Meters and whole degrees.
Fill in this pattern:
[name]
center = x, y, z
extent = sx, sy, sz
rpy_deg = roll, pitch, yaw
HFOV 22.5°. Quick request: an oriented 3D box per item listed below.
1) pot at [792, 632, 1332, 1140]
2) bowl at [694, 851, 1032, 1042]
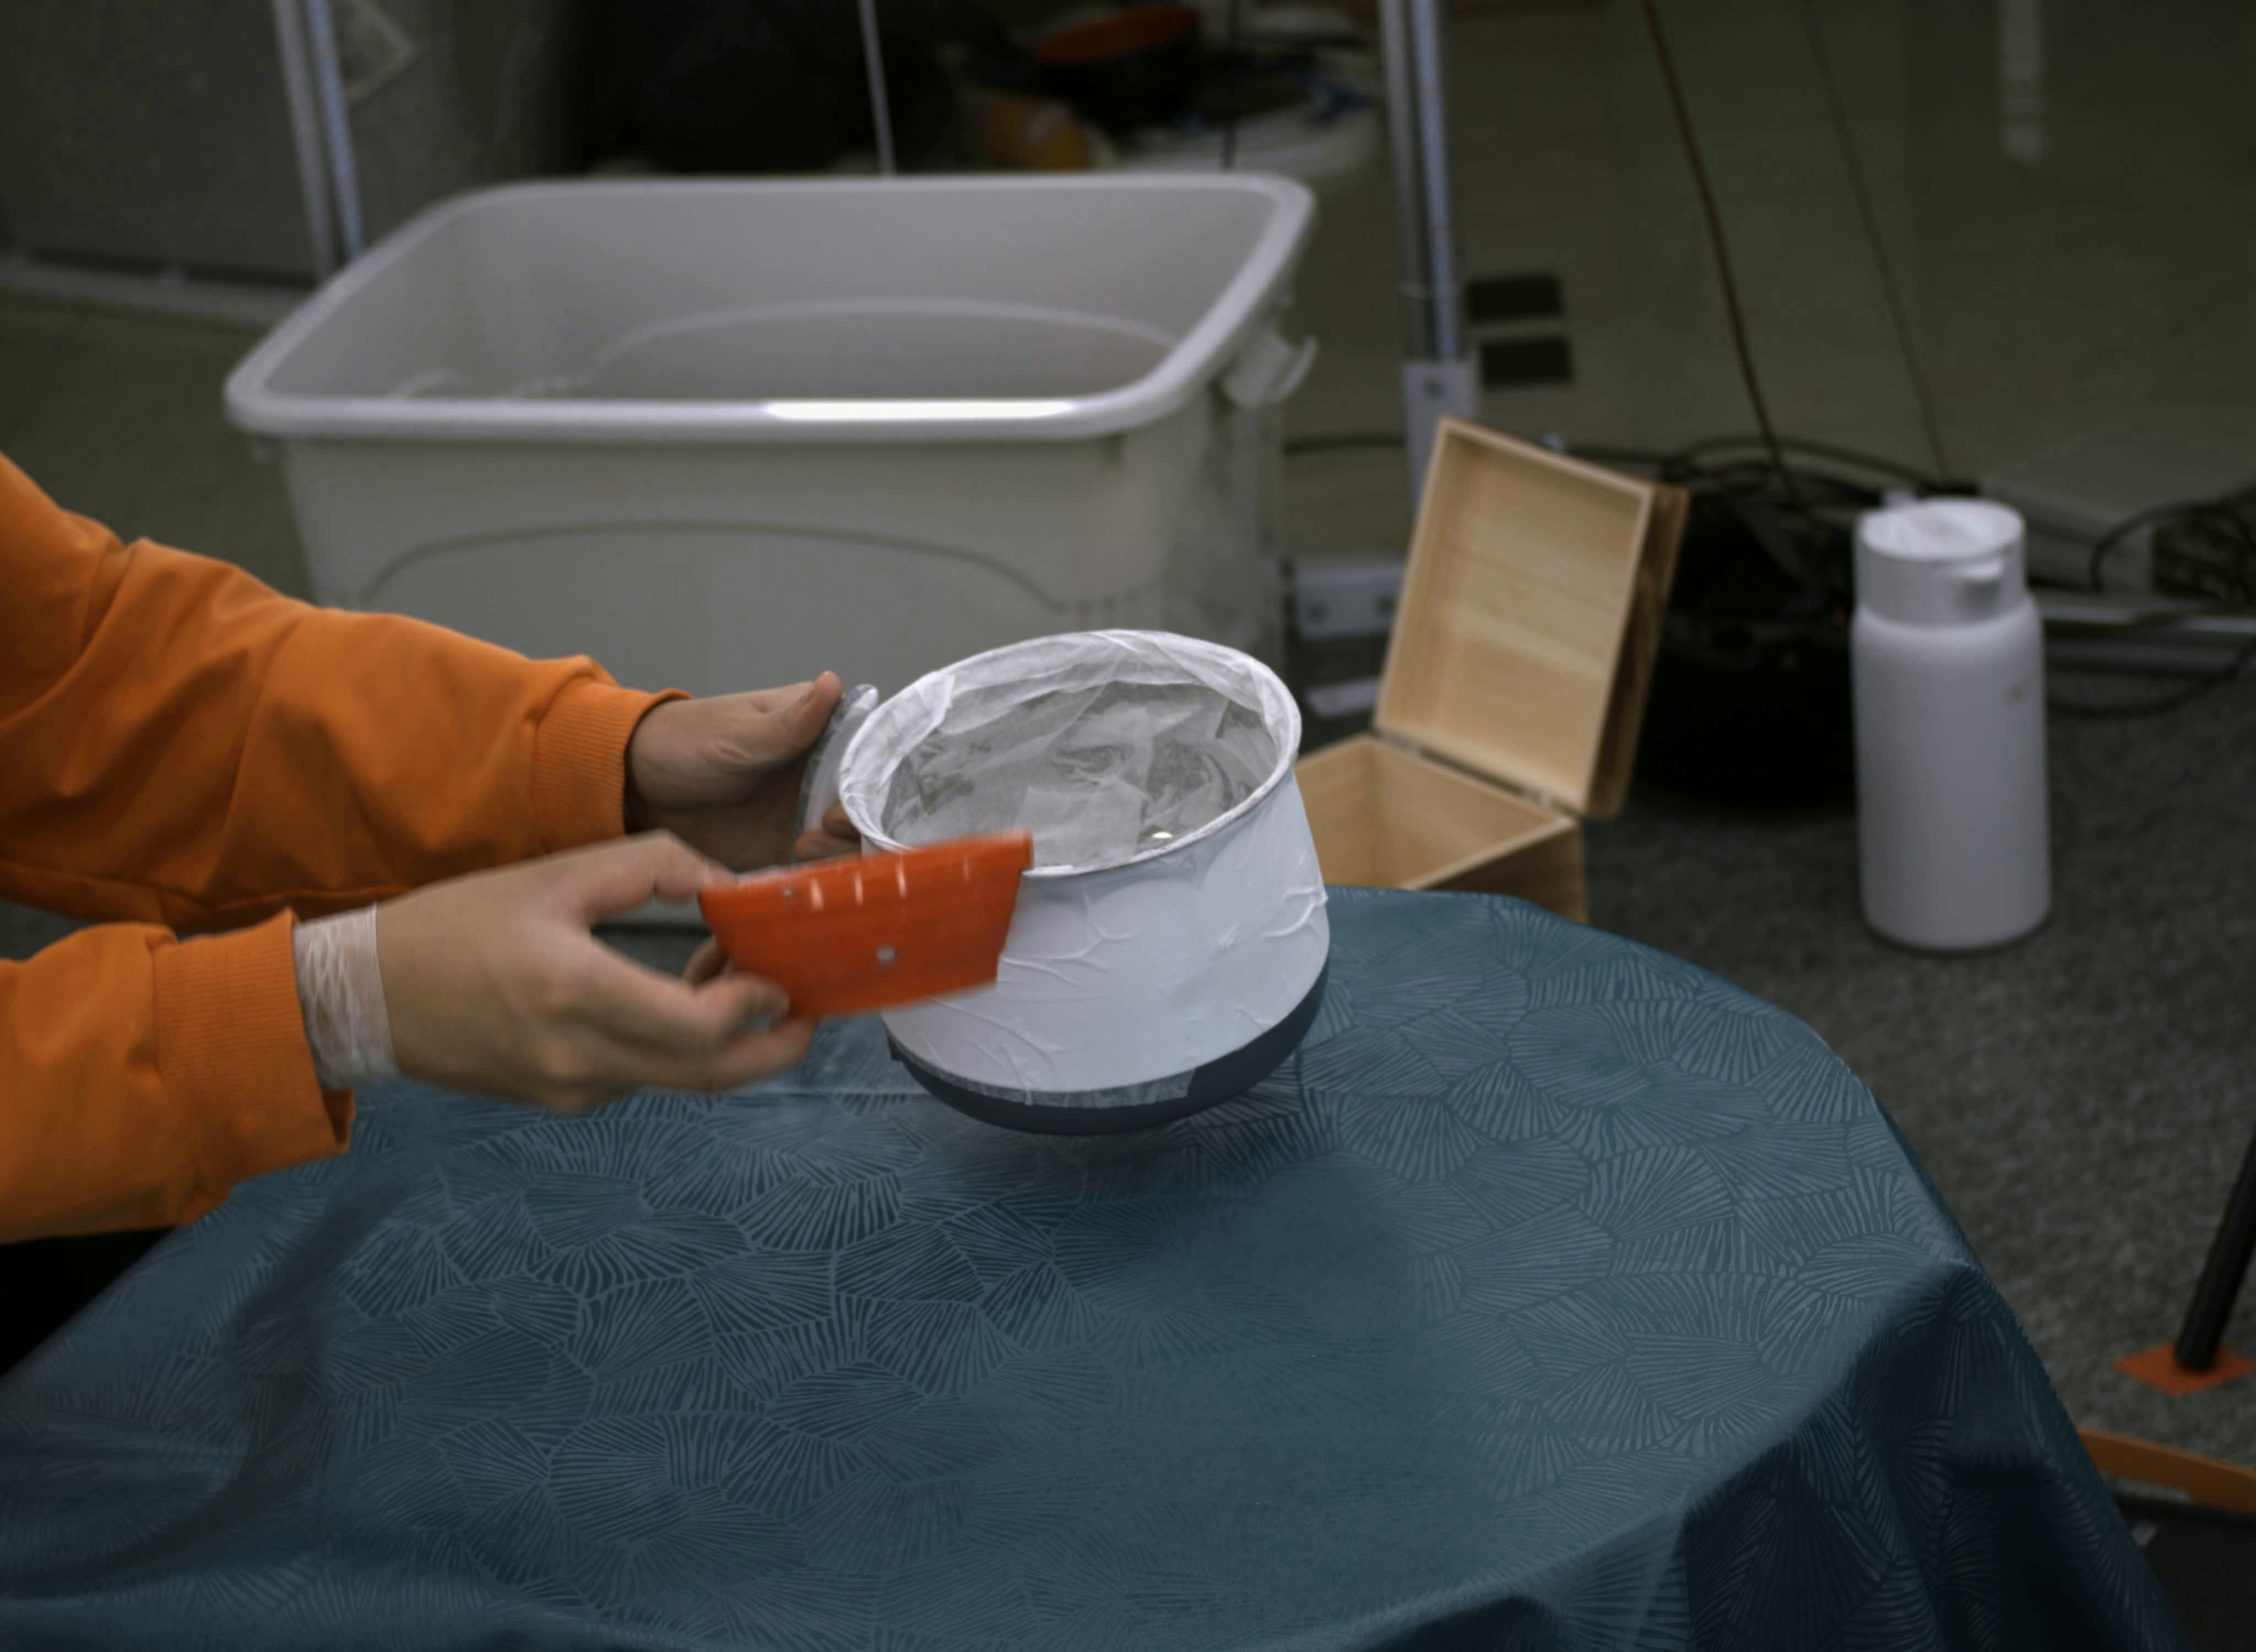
[pot]
center = -0.036, 0.020, 2.179
extent = 0.232, 0.139, 0.176
rpy_deg = 14, 38, 32
[bowl]
center = -0.088, 0.043, 1.962
extent = 0.119, 0.051, 0.118
rpy_deg = -10, 4, 1
